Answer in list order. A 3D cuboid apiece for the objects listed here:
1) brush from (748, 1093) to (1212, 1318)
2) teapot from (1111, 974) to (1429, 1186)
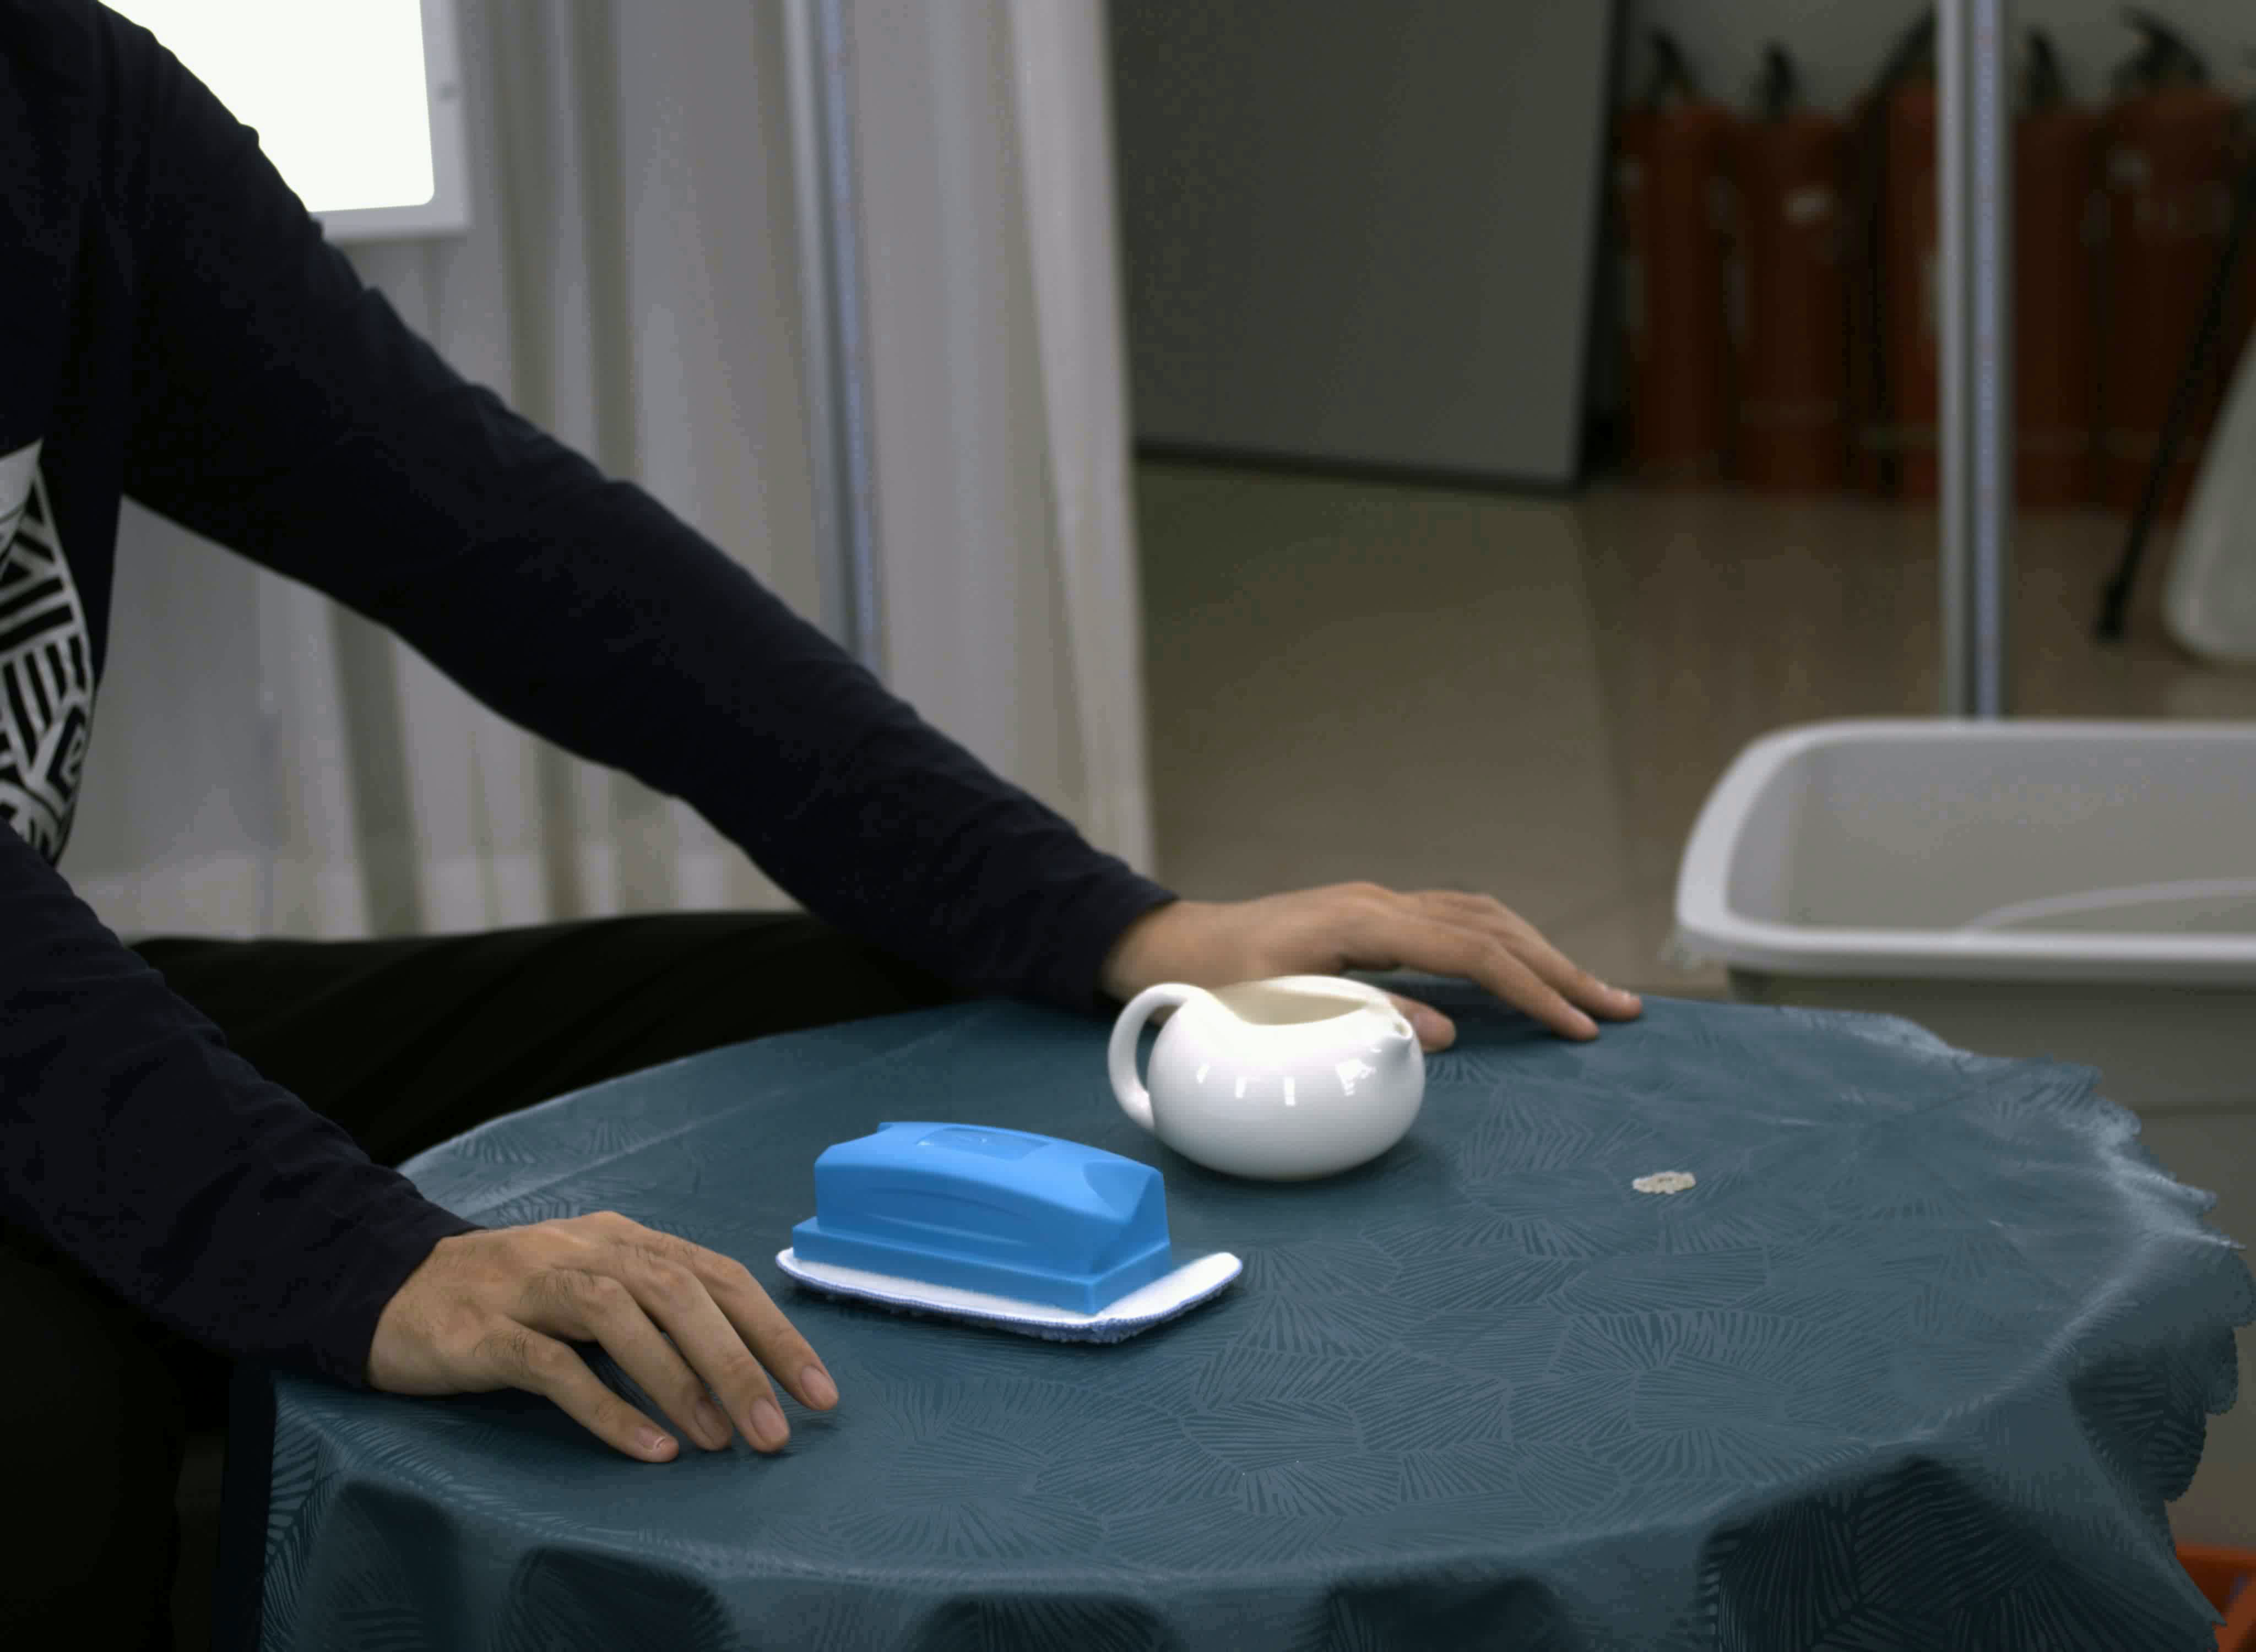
[{"bbox_3d":[-0.046,0.117,1.680,0.145,0.056,0.082,10,16,39],"label":"brush"},{"bbox_3d":[0.045,0.084,1.800,0.128,0.057,0.092,4,19,34],"label":"teapot"}]
